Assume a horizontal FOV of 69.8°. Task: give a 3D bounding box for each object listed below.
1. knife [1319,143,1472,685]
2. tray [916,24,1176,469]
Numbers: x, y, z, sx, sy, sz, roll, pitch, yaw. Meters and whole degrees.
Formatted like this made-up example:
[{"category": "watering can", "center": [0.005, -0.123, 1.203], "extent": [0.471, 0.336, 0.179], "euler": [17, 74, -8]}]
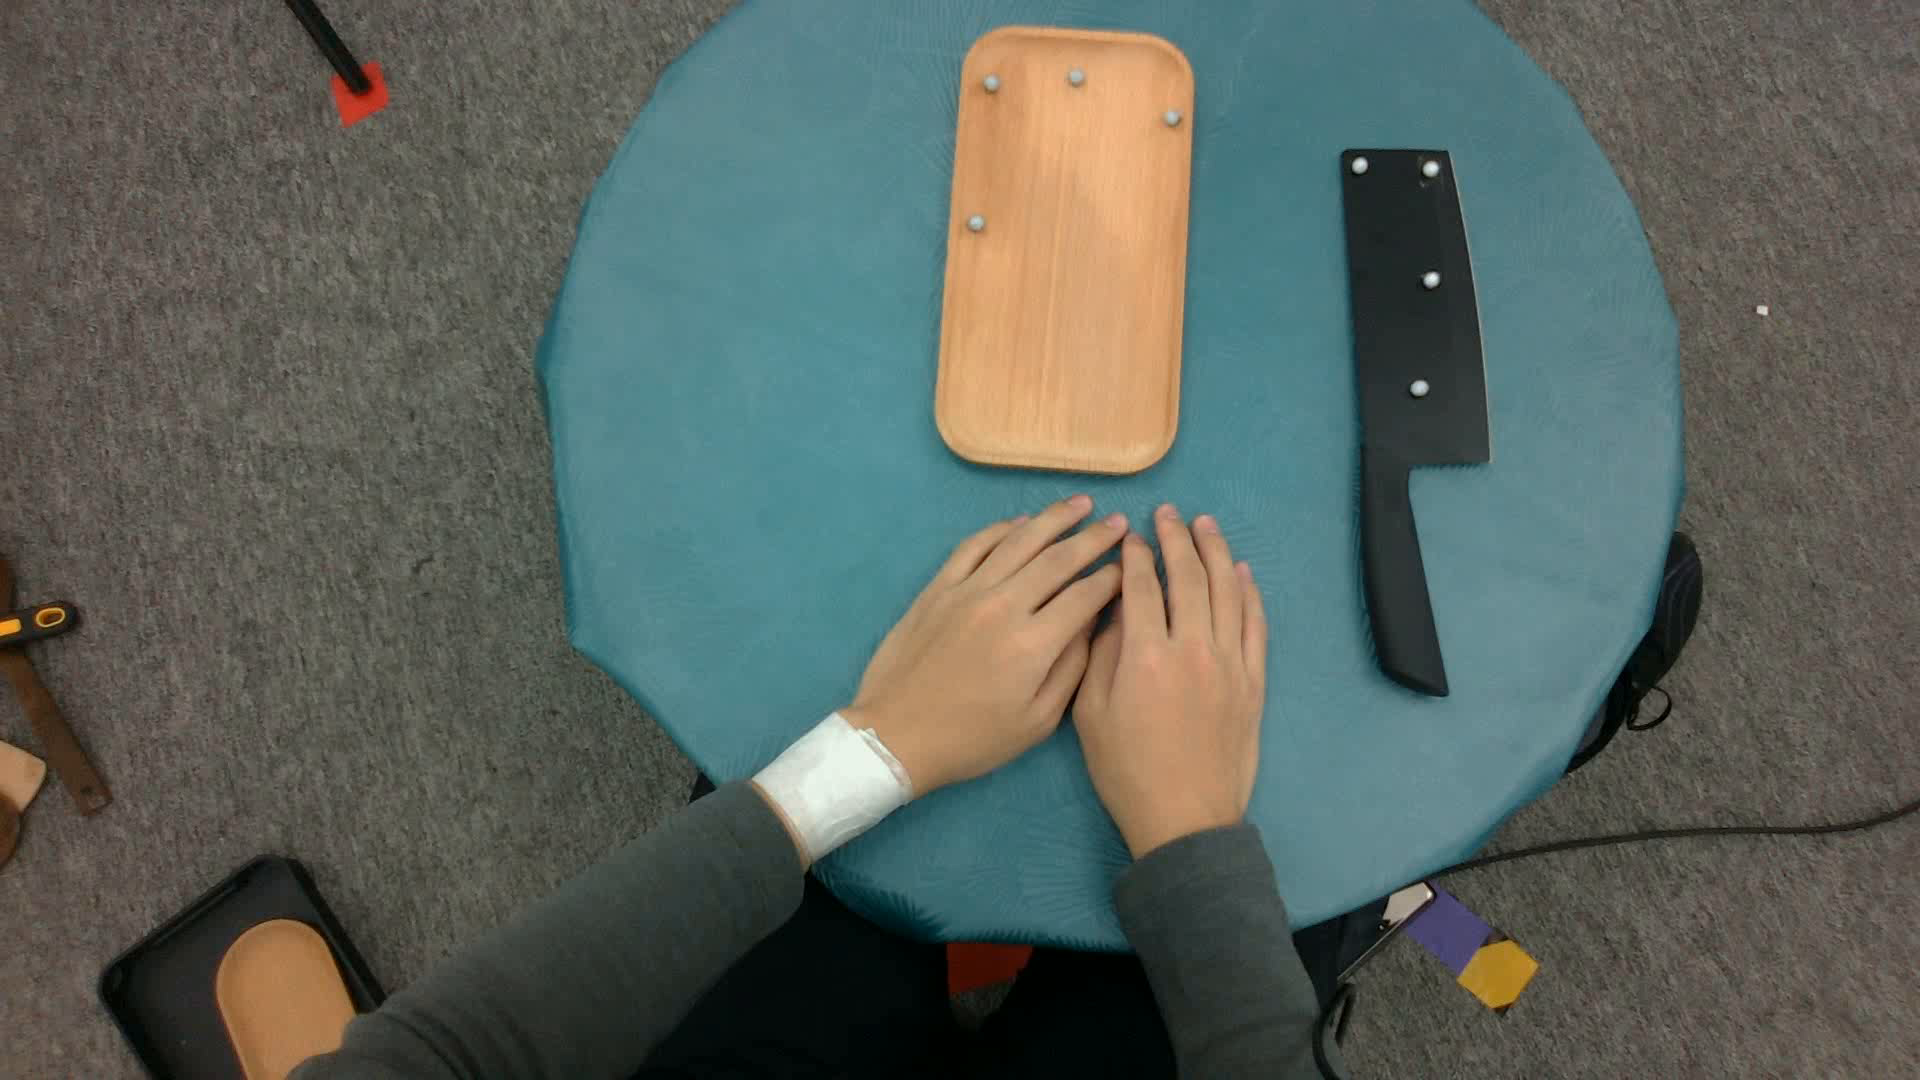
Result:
[{"category": "knife", "center": [0.229, -0.075, 0.723], "extent": [0.081, 0.021, 0.303], "euler": [4, 75, -1]}, {"category": "tray", "center": [0.048, -0.160, 0.740], "extent": [0.130, 0.023, 0.251], "euler": [4, 78, 3]}]
